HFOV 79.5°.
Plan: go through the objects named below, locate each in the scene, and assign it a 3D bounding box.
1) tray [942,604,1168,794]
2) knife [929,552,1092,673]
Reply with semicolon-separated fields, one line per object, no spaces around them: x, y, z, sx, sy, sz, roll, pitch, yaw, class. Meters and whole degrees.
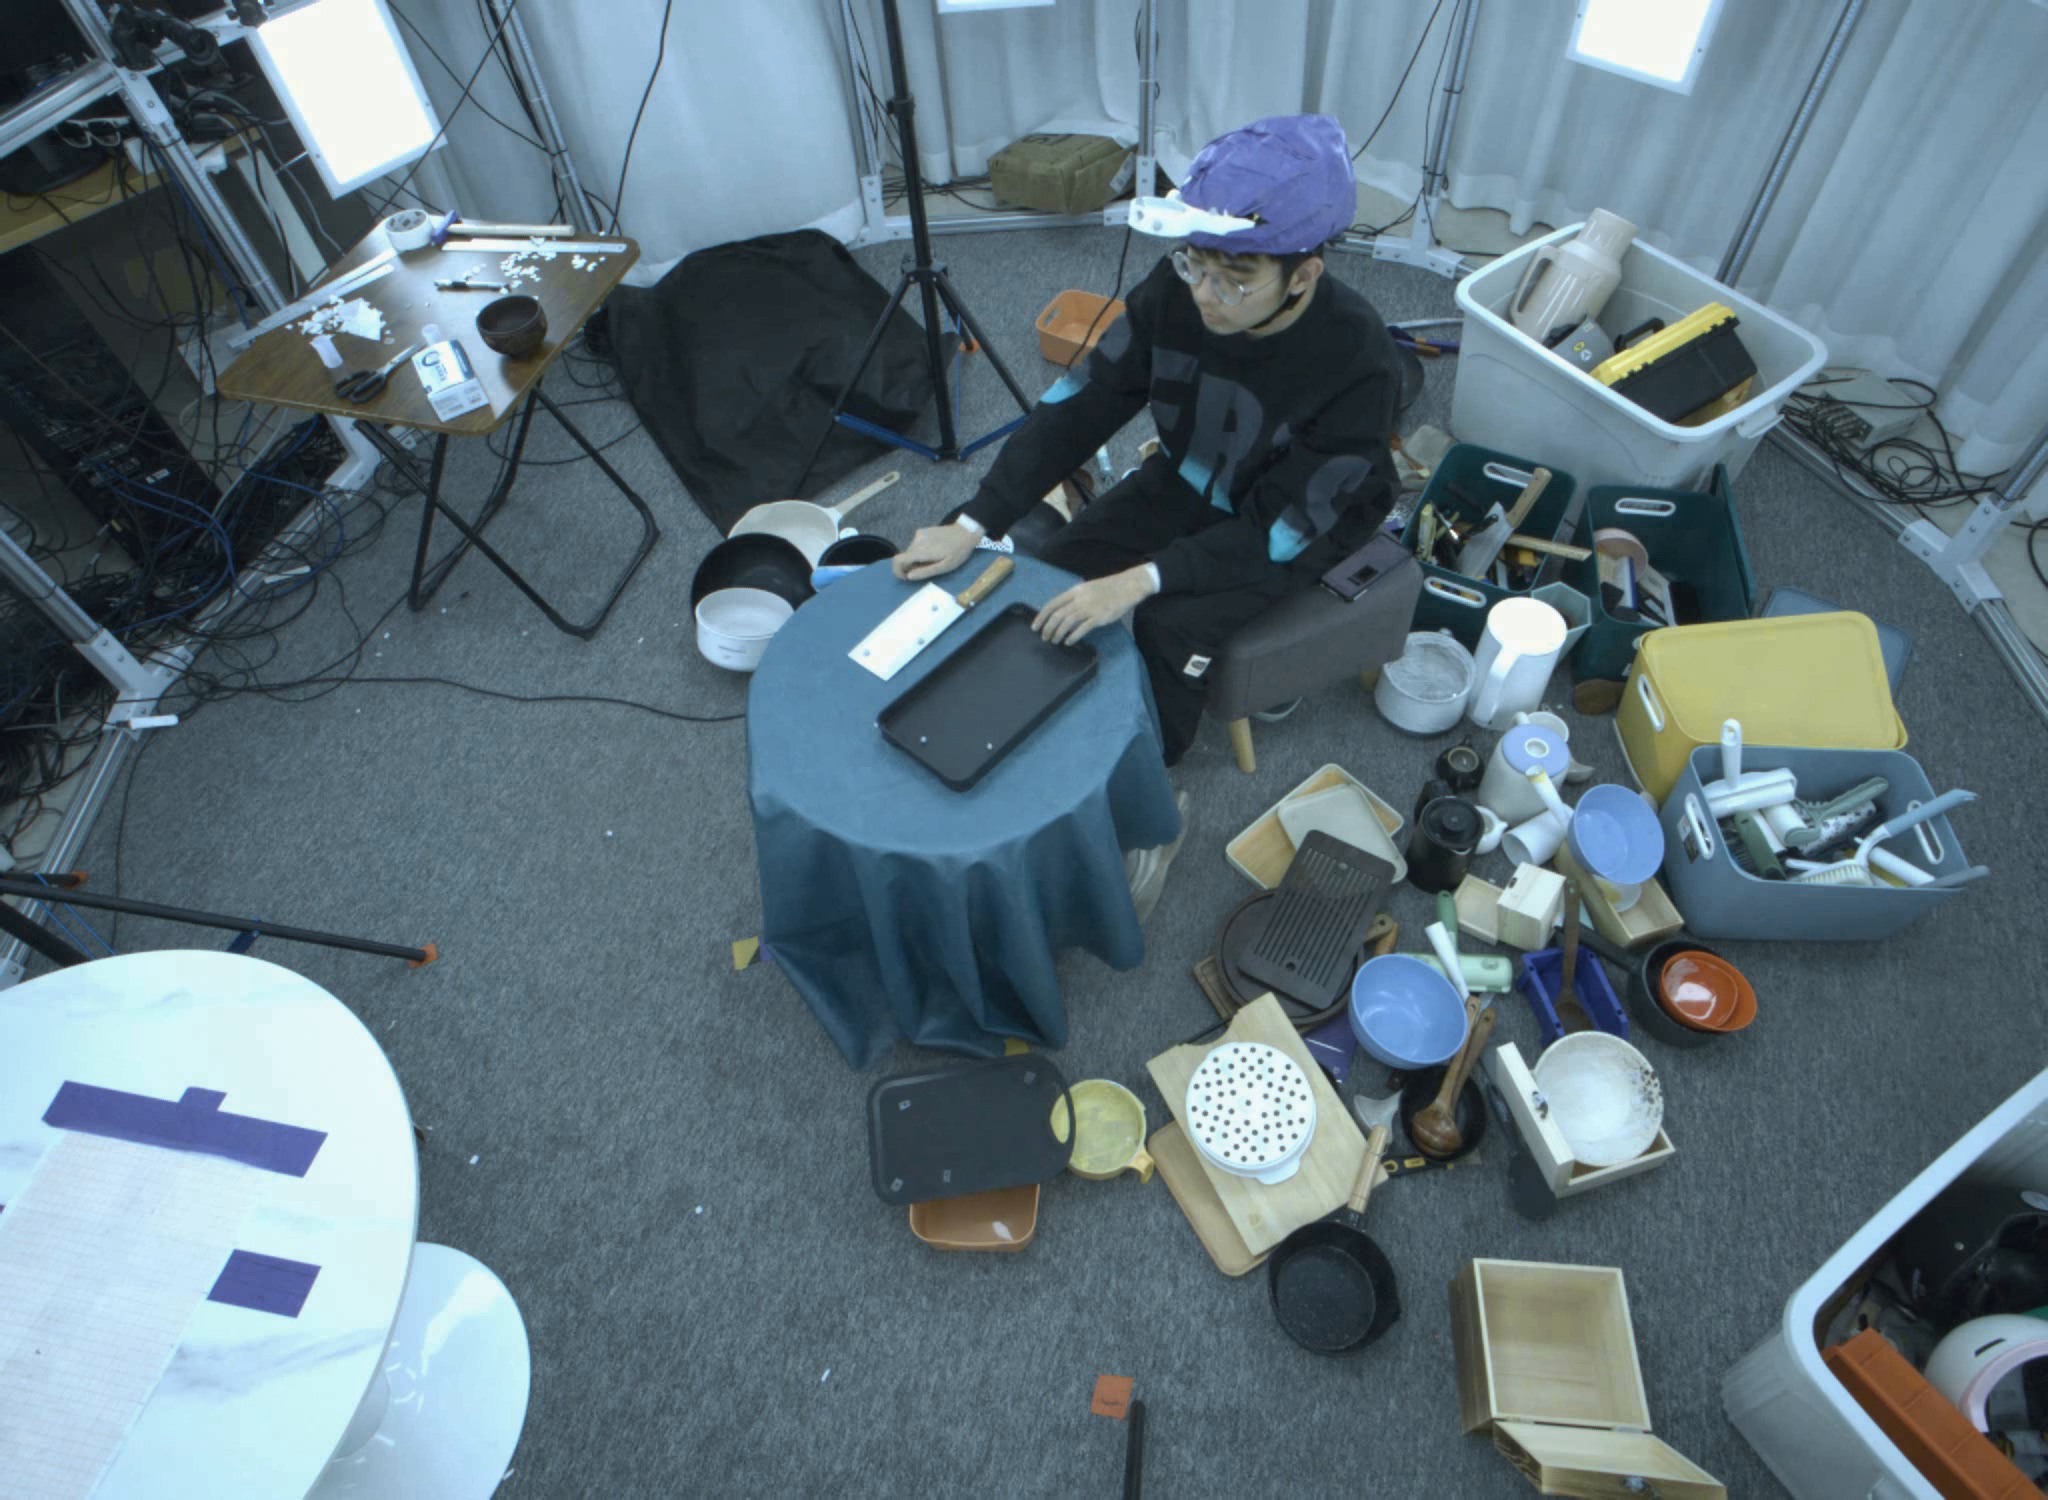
0.048;-0.081;1.820;0.181;0.037;0.320;38;64;25;tray
-0.025;-0.230;1.942;0.307;0.021;0.091;-41;61;-21;knife
